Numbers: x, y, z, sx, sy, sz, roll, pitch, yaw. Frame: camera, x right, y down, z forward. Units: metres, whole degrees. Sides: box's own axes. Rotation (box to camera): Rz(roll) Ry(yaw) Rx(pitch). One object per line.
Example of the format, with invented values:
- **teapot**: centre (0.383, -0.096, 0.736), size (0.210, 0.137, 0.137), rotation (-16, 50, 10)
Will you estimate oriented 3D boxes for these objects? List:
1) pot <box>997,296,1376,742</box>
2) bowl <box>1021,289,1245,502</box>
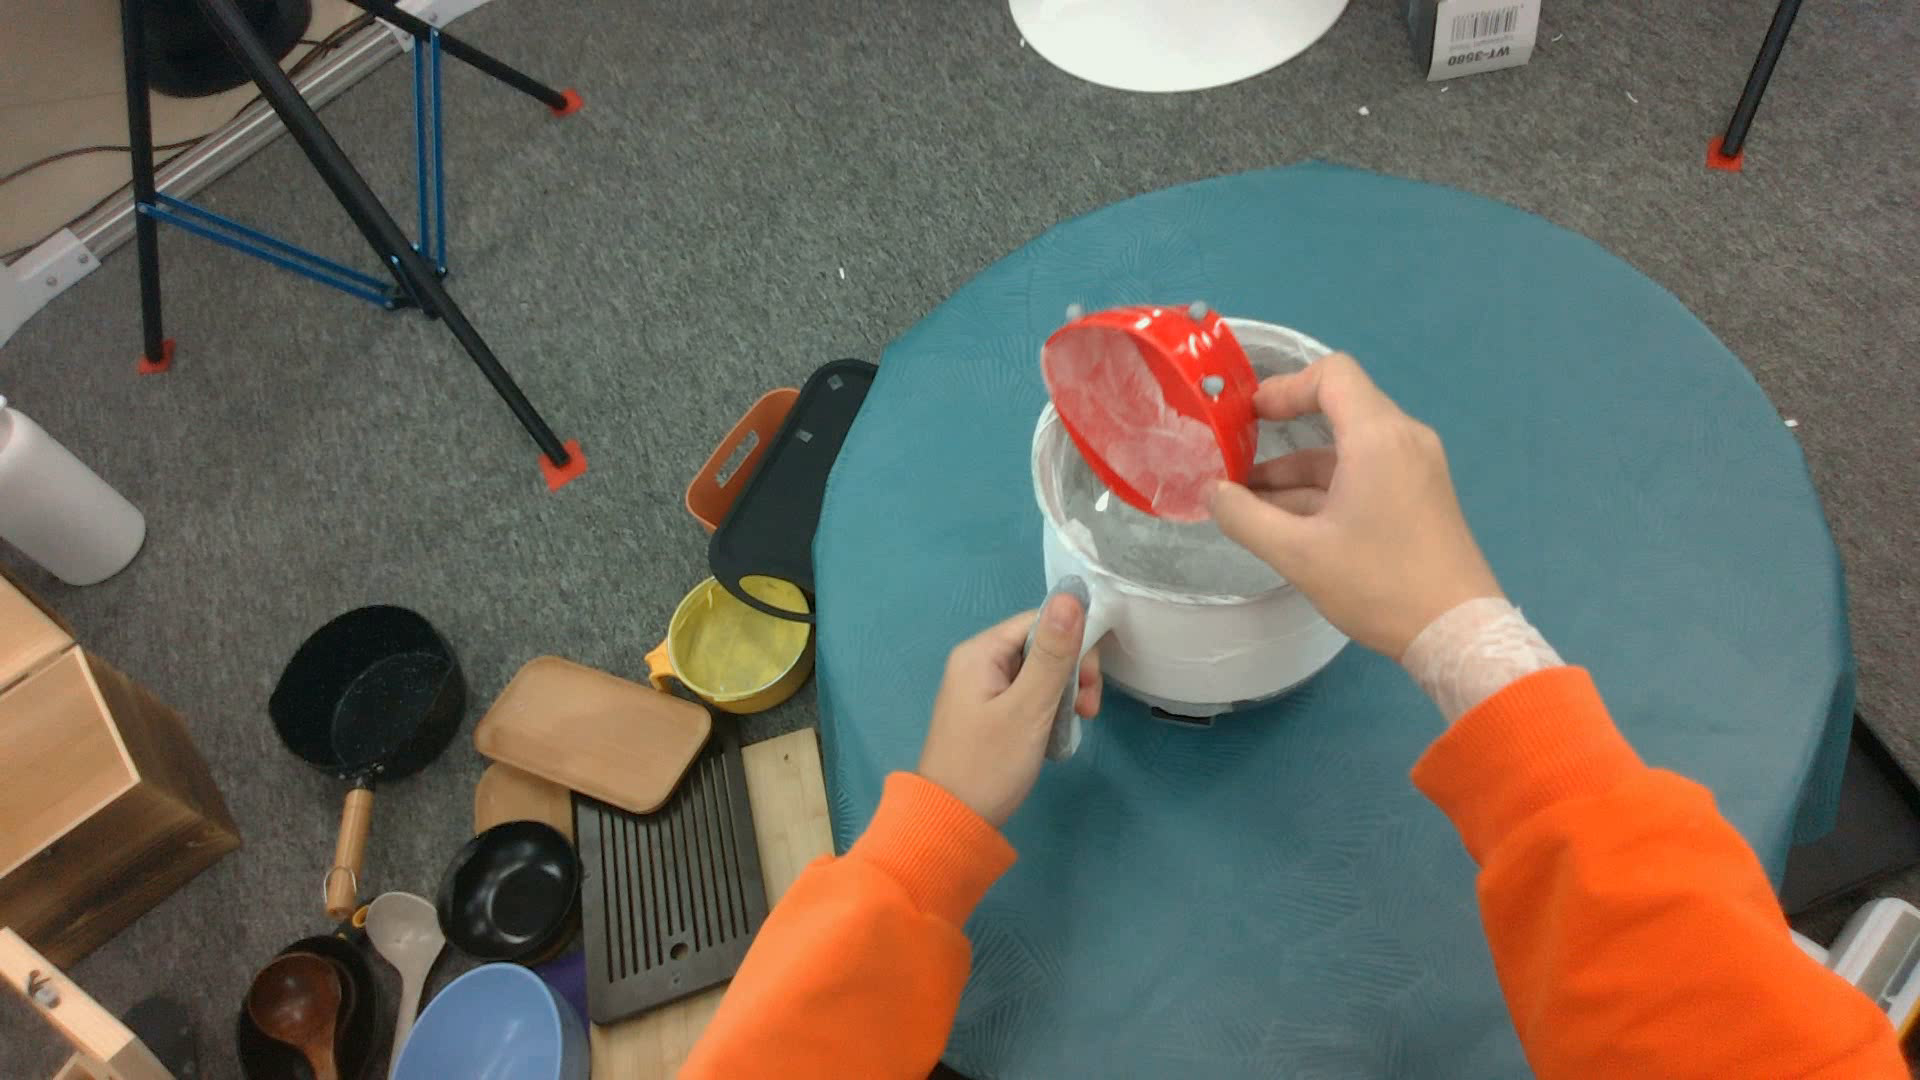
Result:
- **pot**: centre (0.104, -0.001, 0.719), size (0.179, 0.136, 0.234), rotation (33, 66, 27)
- **bowl**: centre (0.090, -0.076, 0.650), size (0.119, 0.118, 0.051), rotation (35, 62, 26)
